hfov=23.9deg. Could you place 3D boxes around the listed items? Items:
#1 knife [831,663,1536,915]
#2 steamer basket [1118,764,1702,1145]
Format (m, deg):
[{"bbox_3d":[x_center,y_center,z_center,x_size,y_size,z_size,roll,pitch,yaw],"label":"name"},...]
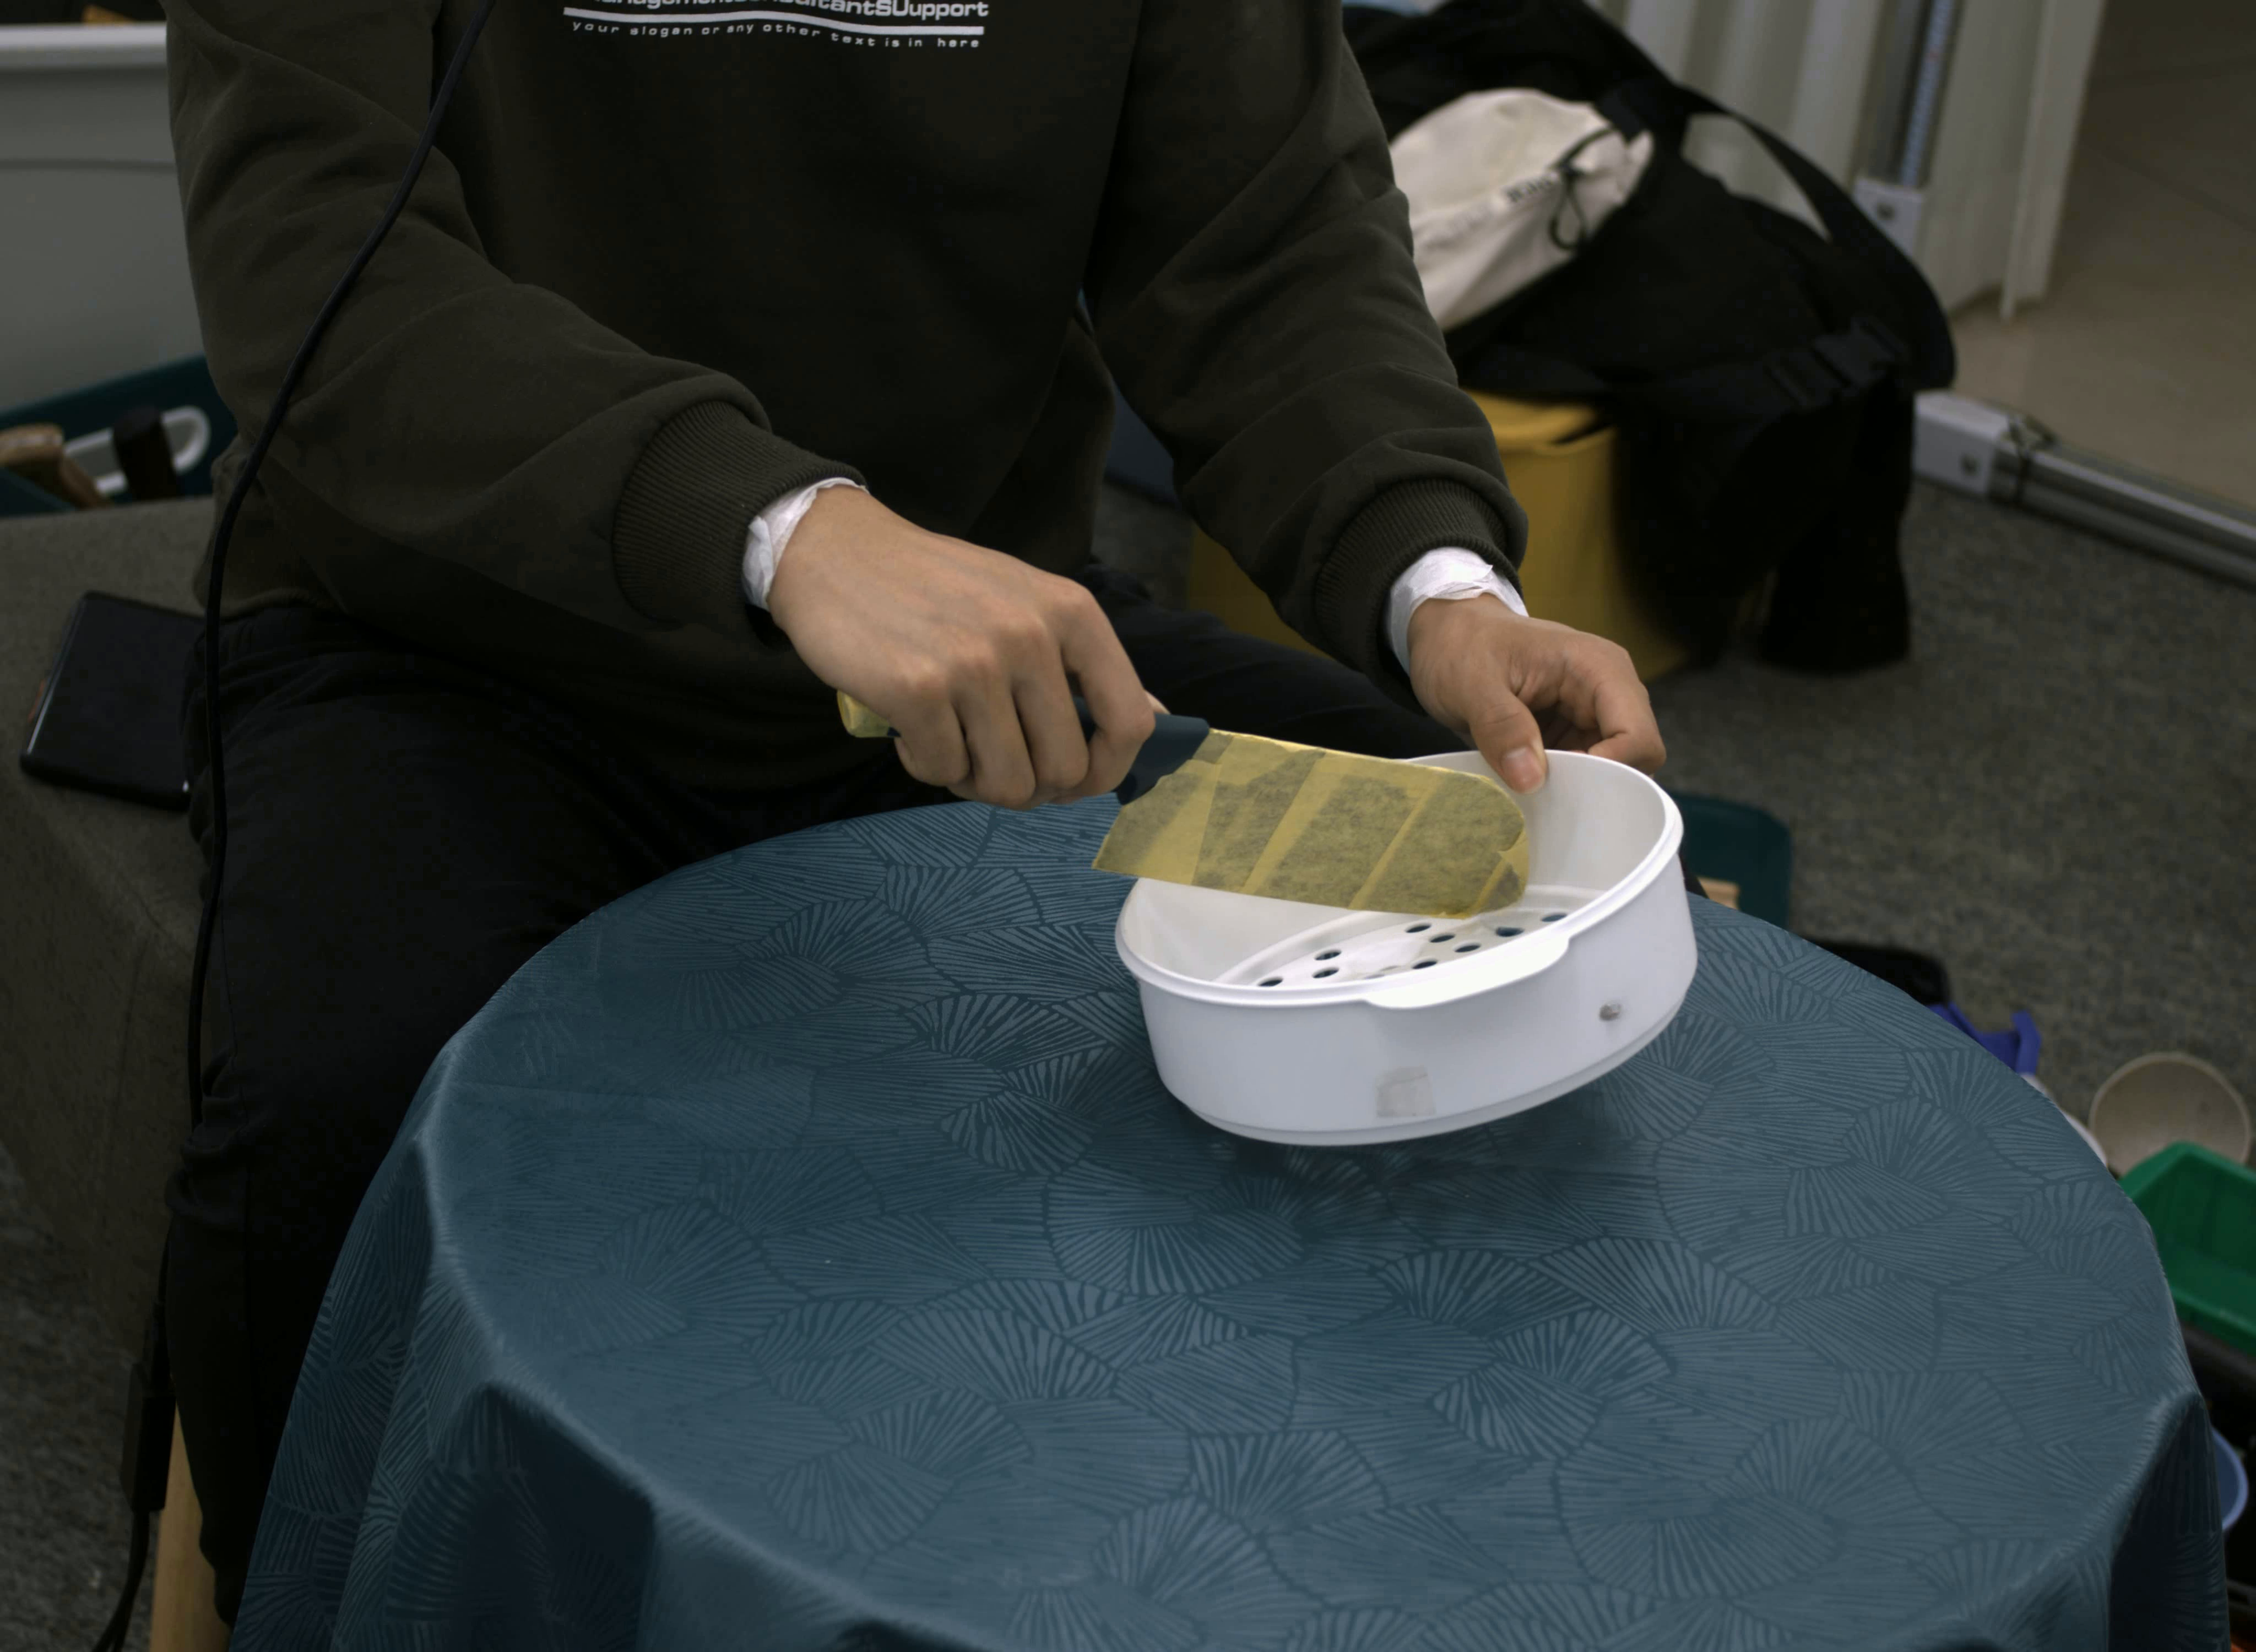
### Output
[{"bbox_3d":[0.021,-0.010,1.859,0.287,0.081,0.027,13,36,-27],"label":"knife"},{"bbox_3d":[0.101,0.046,1.853,0.201,0.069,0.232,-15,19,-6],"label":"steamer basket"}]
